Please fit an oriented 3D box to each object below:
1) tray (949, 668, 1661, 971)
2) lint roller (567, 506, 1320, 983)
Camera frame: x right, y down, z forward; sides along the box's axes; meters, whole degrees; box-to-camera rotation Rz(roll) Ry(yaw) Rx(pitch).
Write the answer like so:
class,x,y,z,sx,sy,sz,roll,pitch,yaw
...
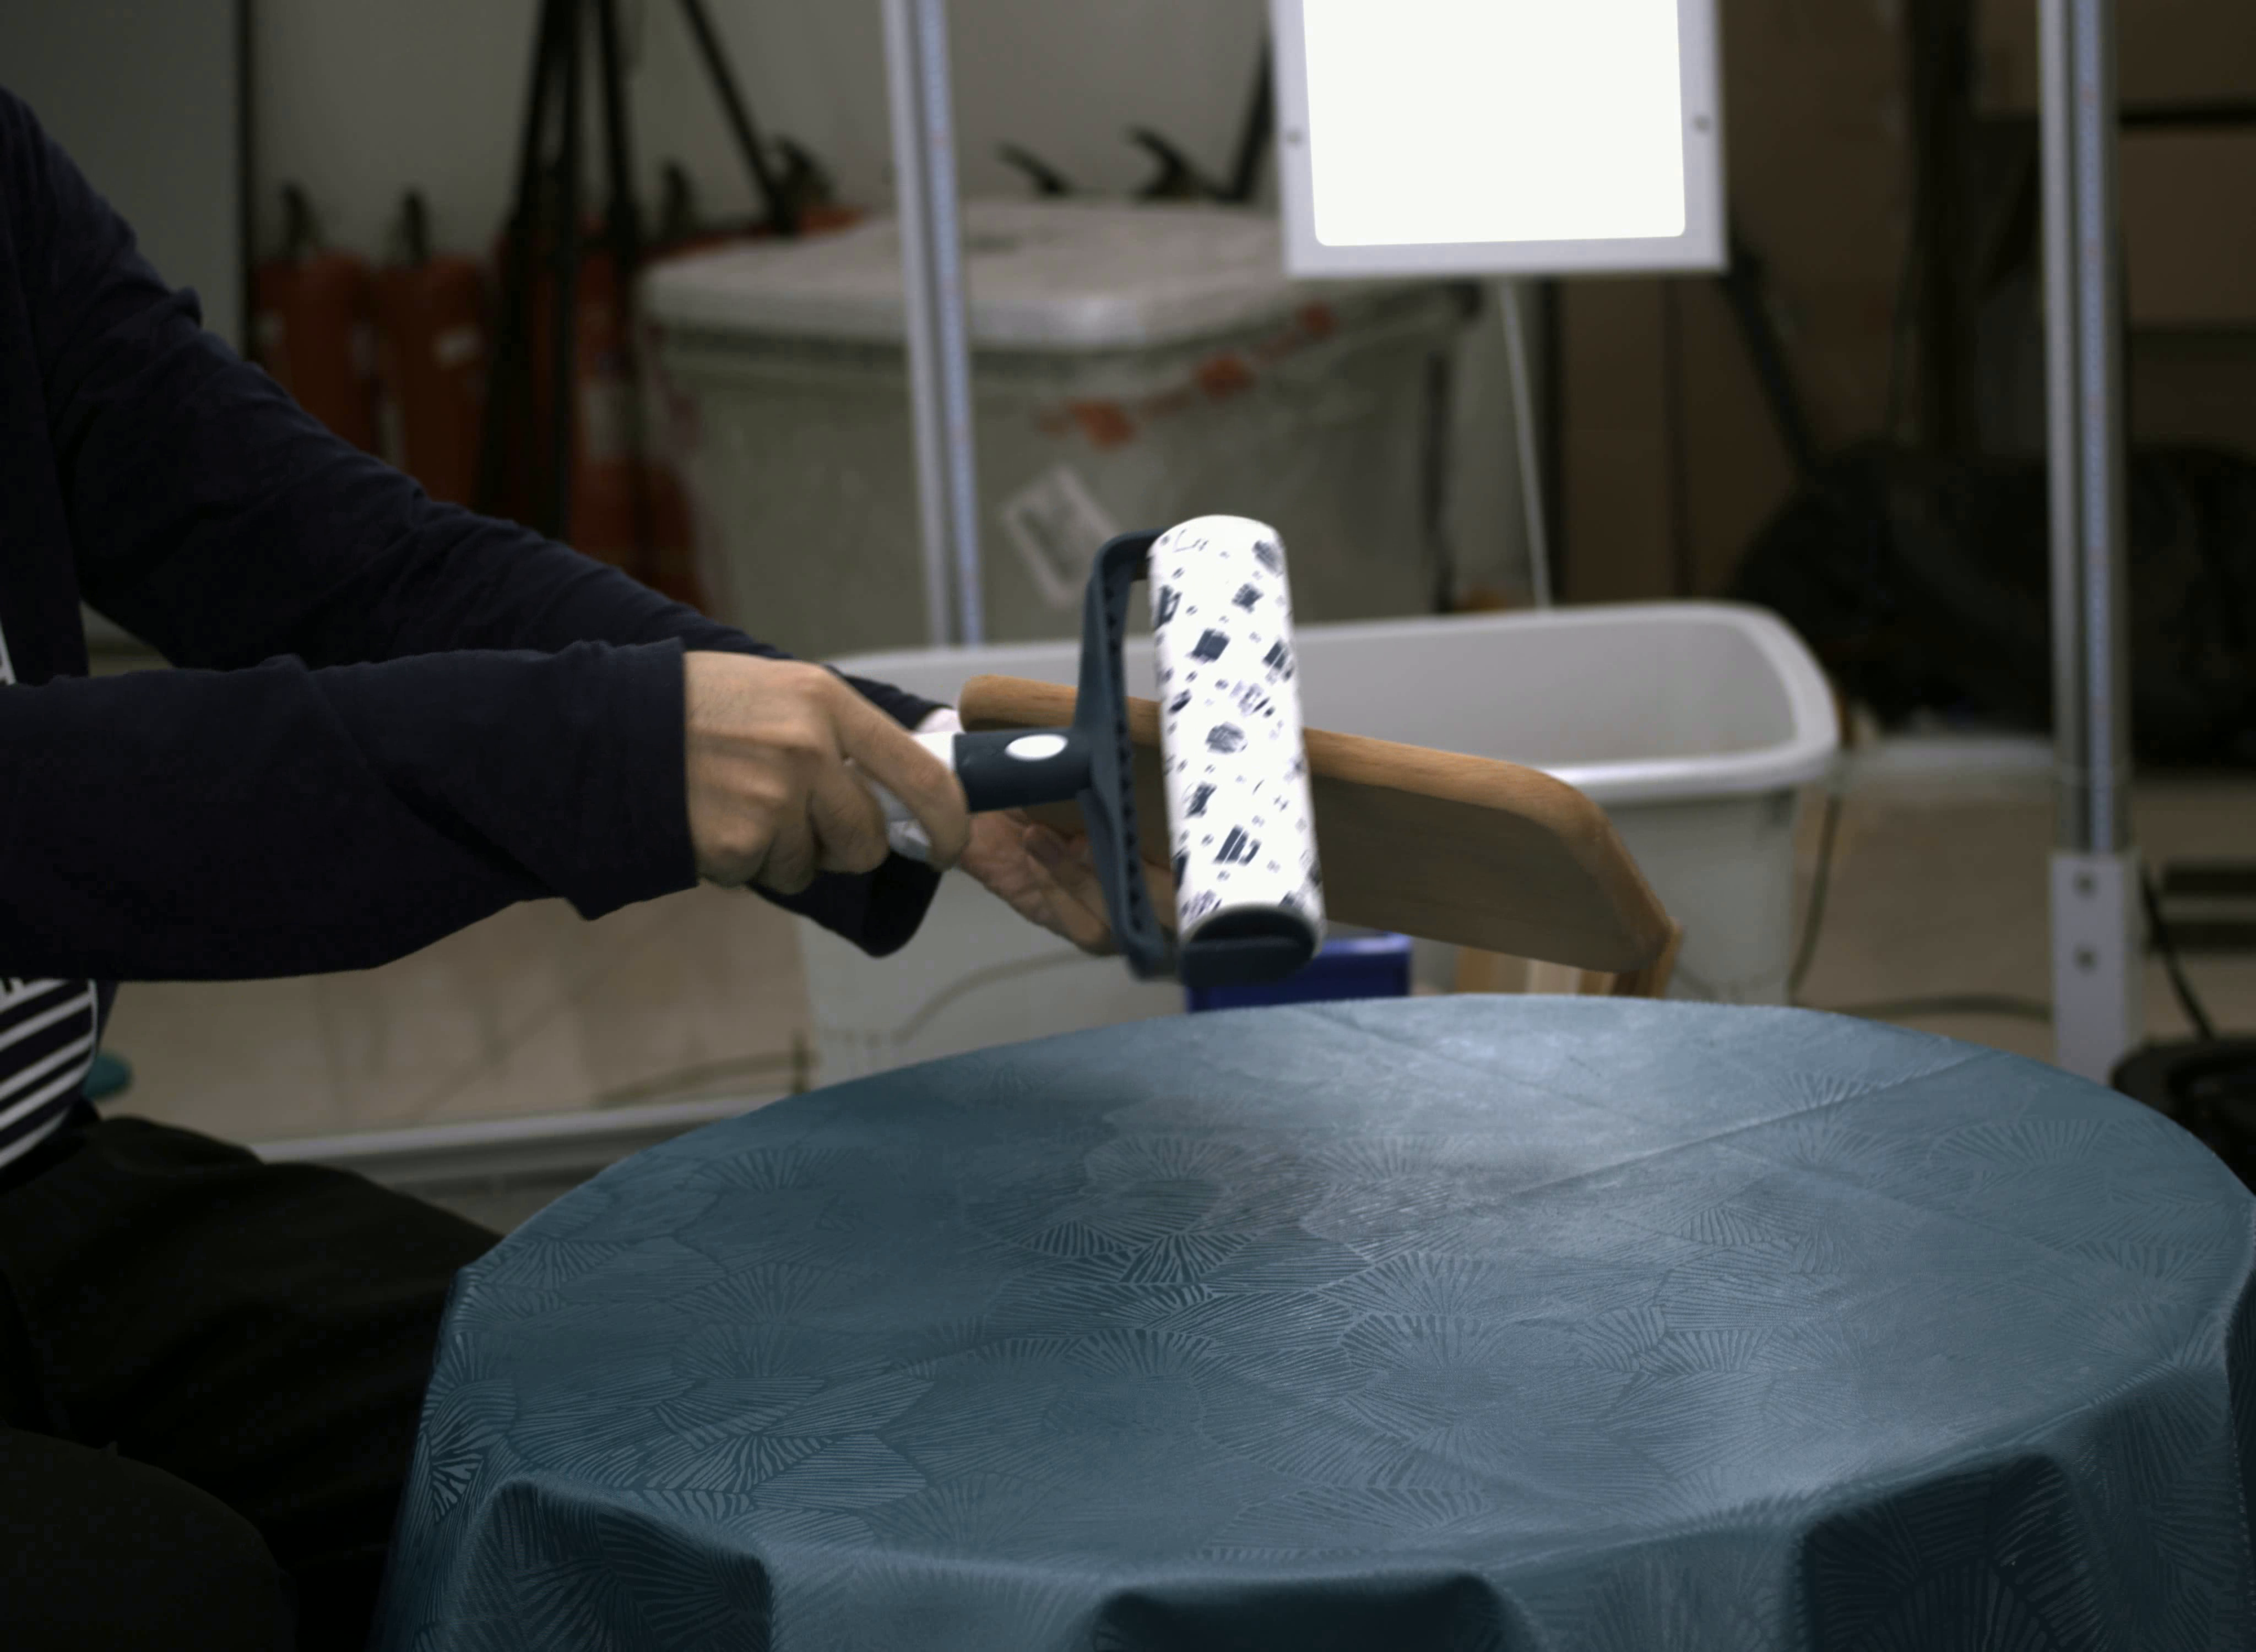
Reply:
class,x,y,z,sx,sy,sz,roll,pitch,yaw
tray,0.058,-0.002,1.890,0.255,0.129,0.022,9,61,33
lint roller,-0.064,-0.017,1.814,0.247,0.050,0.176,-7,55,4
